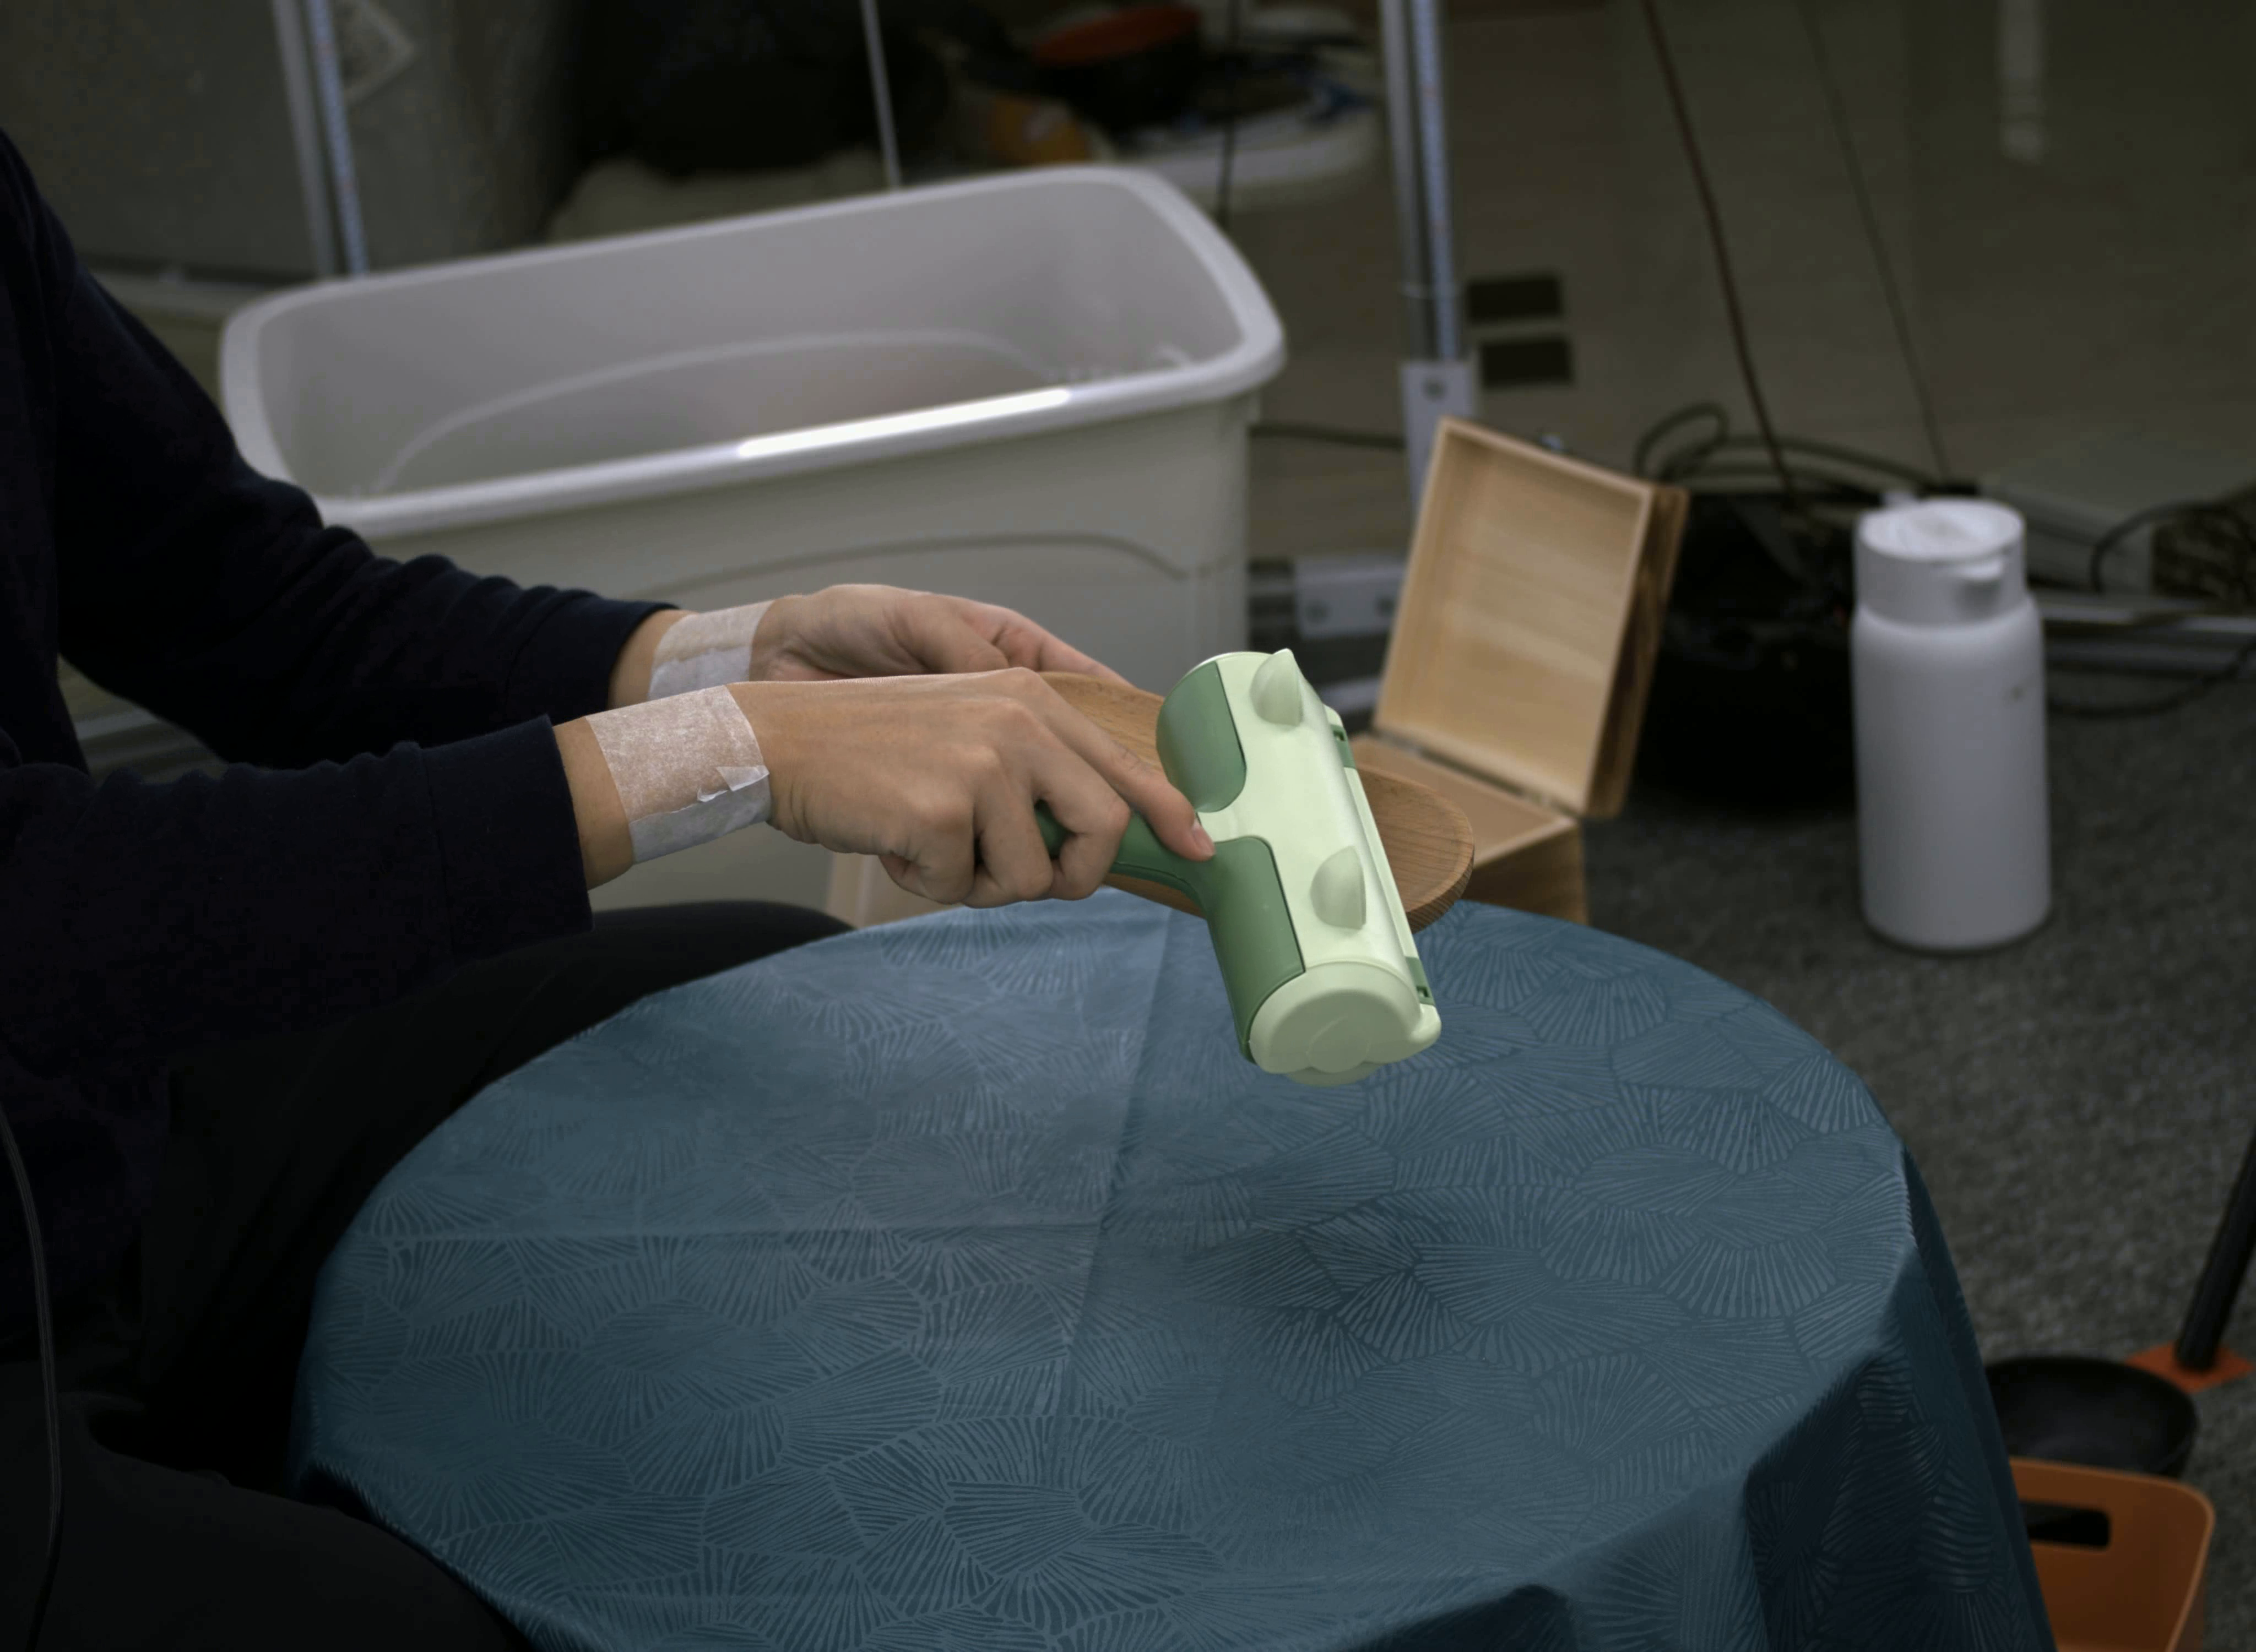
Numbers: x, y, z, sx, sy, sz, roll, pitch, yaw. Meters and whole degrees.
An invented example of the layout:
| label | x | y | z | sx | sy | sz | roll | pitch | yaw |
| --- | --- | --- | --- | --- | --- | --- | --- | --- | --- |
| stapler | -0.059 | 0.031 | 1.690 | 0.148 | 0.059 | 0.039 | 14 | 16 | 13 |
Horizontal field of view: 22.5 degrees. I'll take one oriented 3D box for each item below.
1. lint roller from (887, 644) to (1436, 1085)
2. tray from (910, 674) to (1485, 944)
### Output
| label | x | y | z | sx | sy | sz | roll | pitch | yaw |
| --- | --- | --- | --- | --- | --- | --- | --- | --- | --- |
| lint roller | 0.011 | -0.012 | 1.958 | 0.184 | 0.083 | 0.195 | 21 | 31 | -27 |
| tray | 0.024 | -0.006 | 2.072 | 0.229 | 0.021 | 0.100 | 20 | 42 | 28 |
